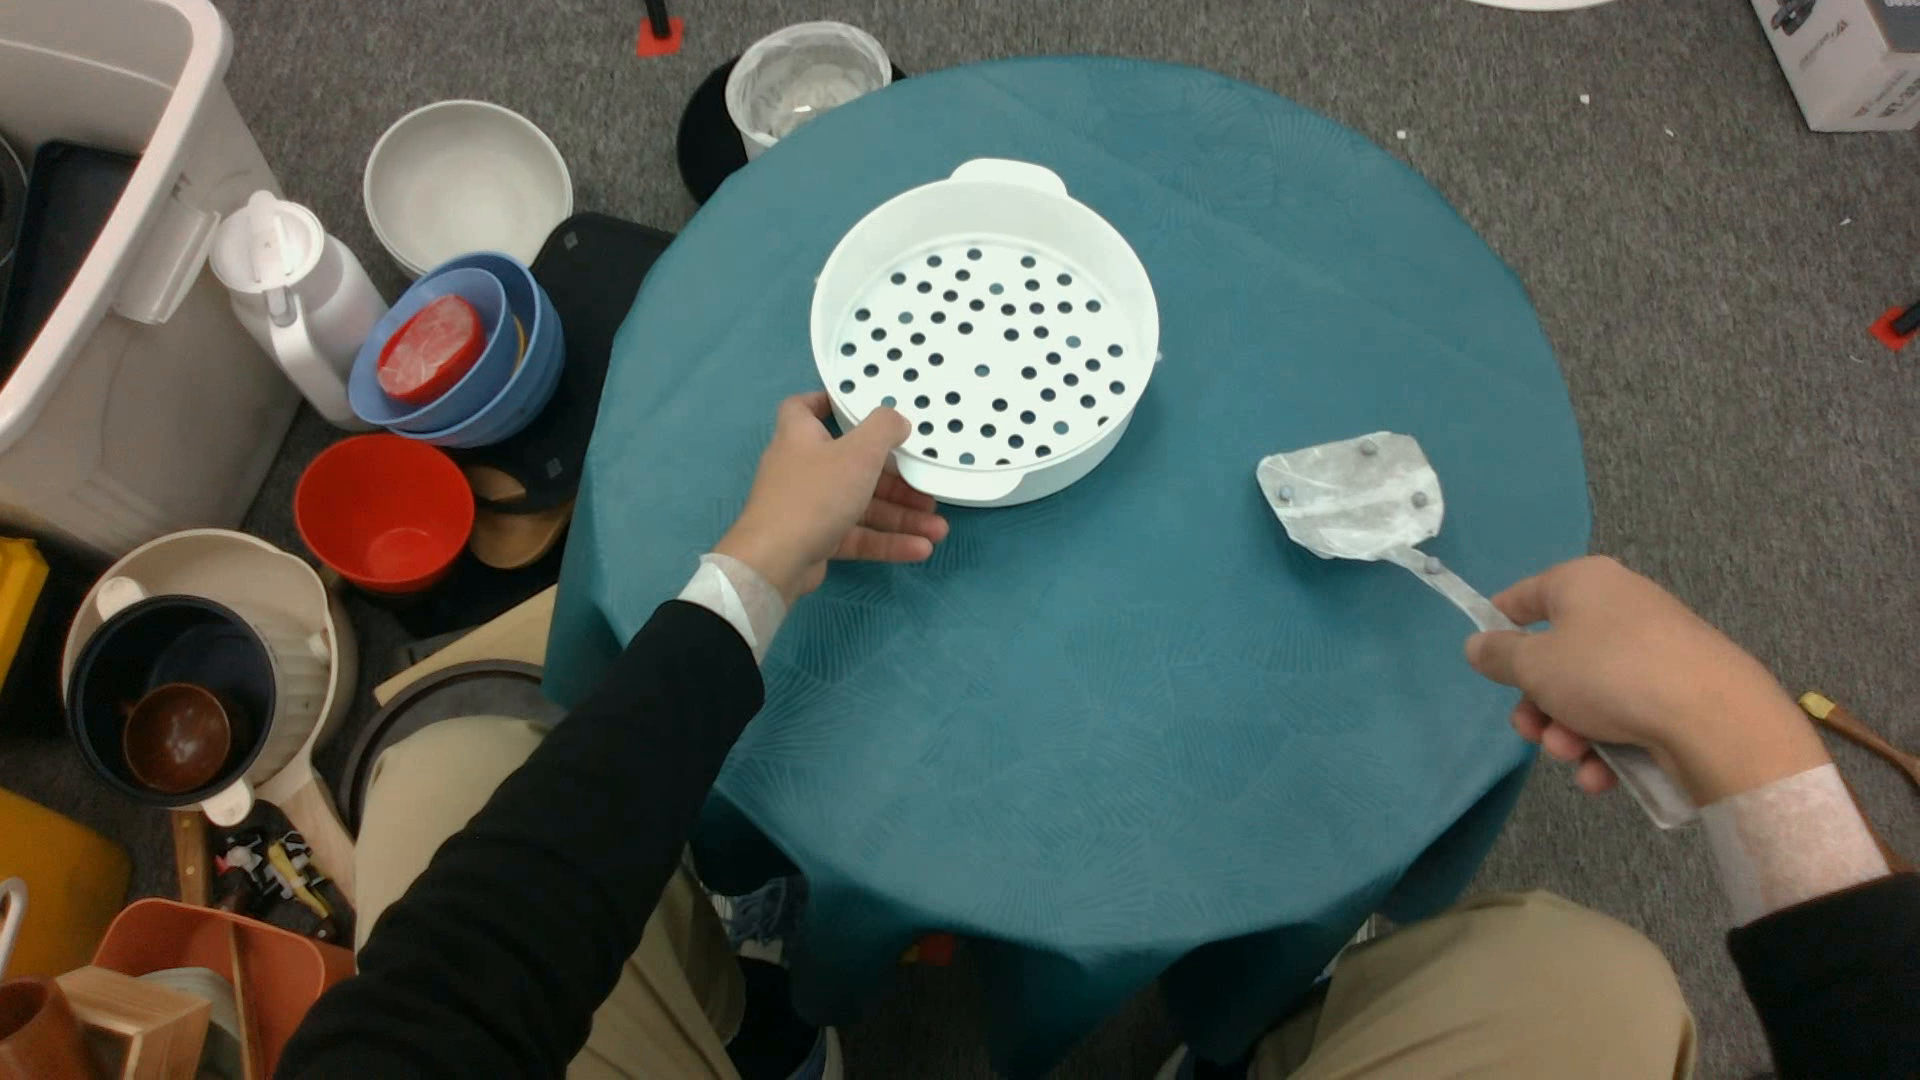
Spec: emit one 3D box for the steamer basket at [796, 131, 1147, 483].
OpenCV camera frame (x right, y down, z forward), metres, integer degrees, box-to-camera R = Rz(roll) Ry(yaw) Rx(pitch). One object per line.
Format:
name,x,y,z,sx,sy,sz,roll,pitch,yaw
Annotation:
steamer basket,0.007,-0.131,0.818,0.202,0.069,0.231,8,68,3

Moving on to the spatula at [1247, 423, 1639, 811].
spatula,0.233,0.016,0.671,0.099,0.366,0.044,-10,111,-1
